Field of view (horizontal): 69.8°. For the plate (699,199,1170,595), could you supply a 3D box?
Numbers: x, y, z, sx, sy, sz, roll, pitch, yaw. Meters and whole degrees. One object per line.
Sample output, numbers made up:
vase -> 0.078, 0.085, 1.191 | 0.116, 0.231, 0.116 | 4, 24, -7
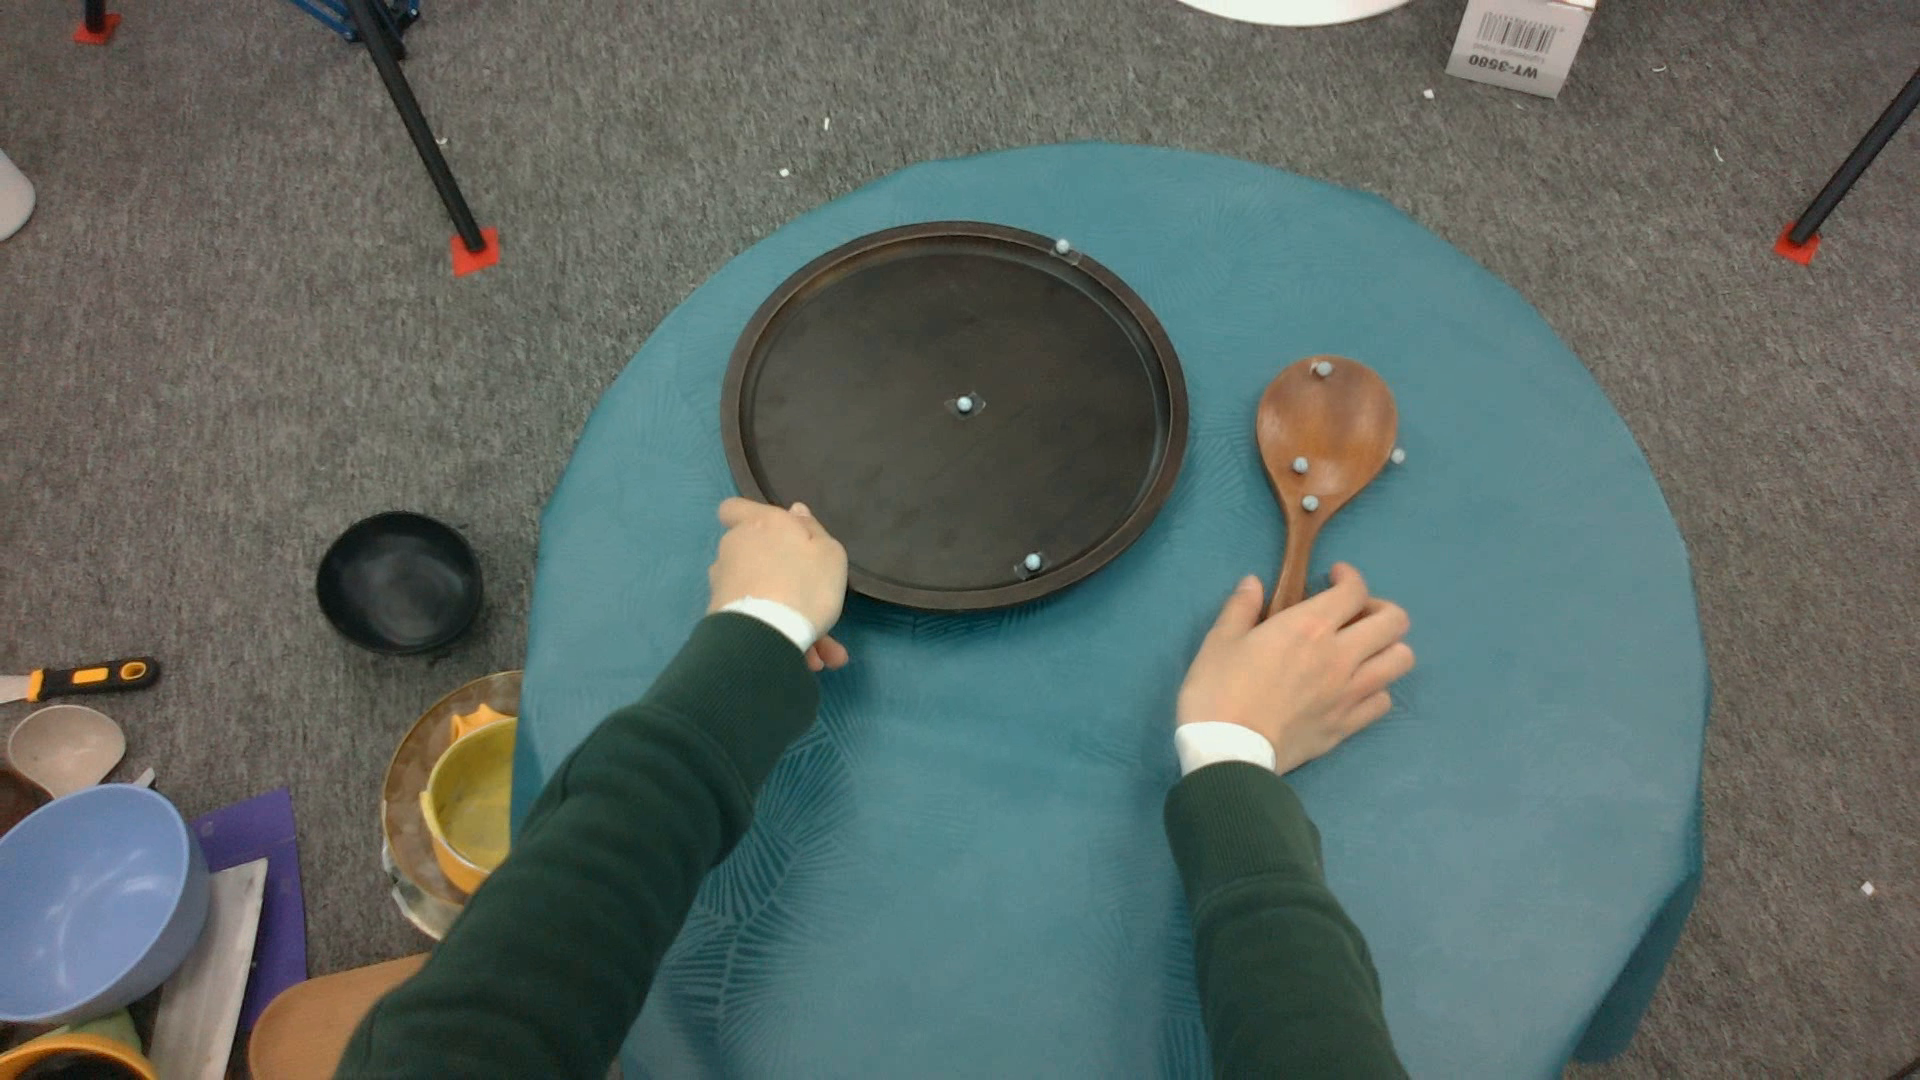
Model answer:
plate -> -0.014, -0.082, 0.747 | 0.255, 0.029, 0.256 | 0, 60, 0

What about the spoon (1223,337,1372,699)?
spoon -> 0.168, -0.016, 0.719 | 0.075, 0.017, 0.217 | 14, 63, 7
